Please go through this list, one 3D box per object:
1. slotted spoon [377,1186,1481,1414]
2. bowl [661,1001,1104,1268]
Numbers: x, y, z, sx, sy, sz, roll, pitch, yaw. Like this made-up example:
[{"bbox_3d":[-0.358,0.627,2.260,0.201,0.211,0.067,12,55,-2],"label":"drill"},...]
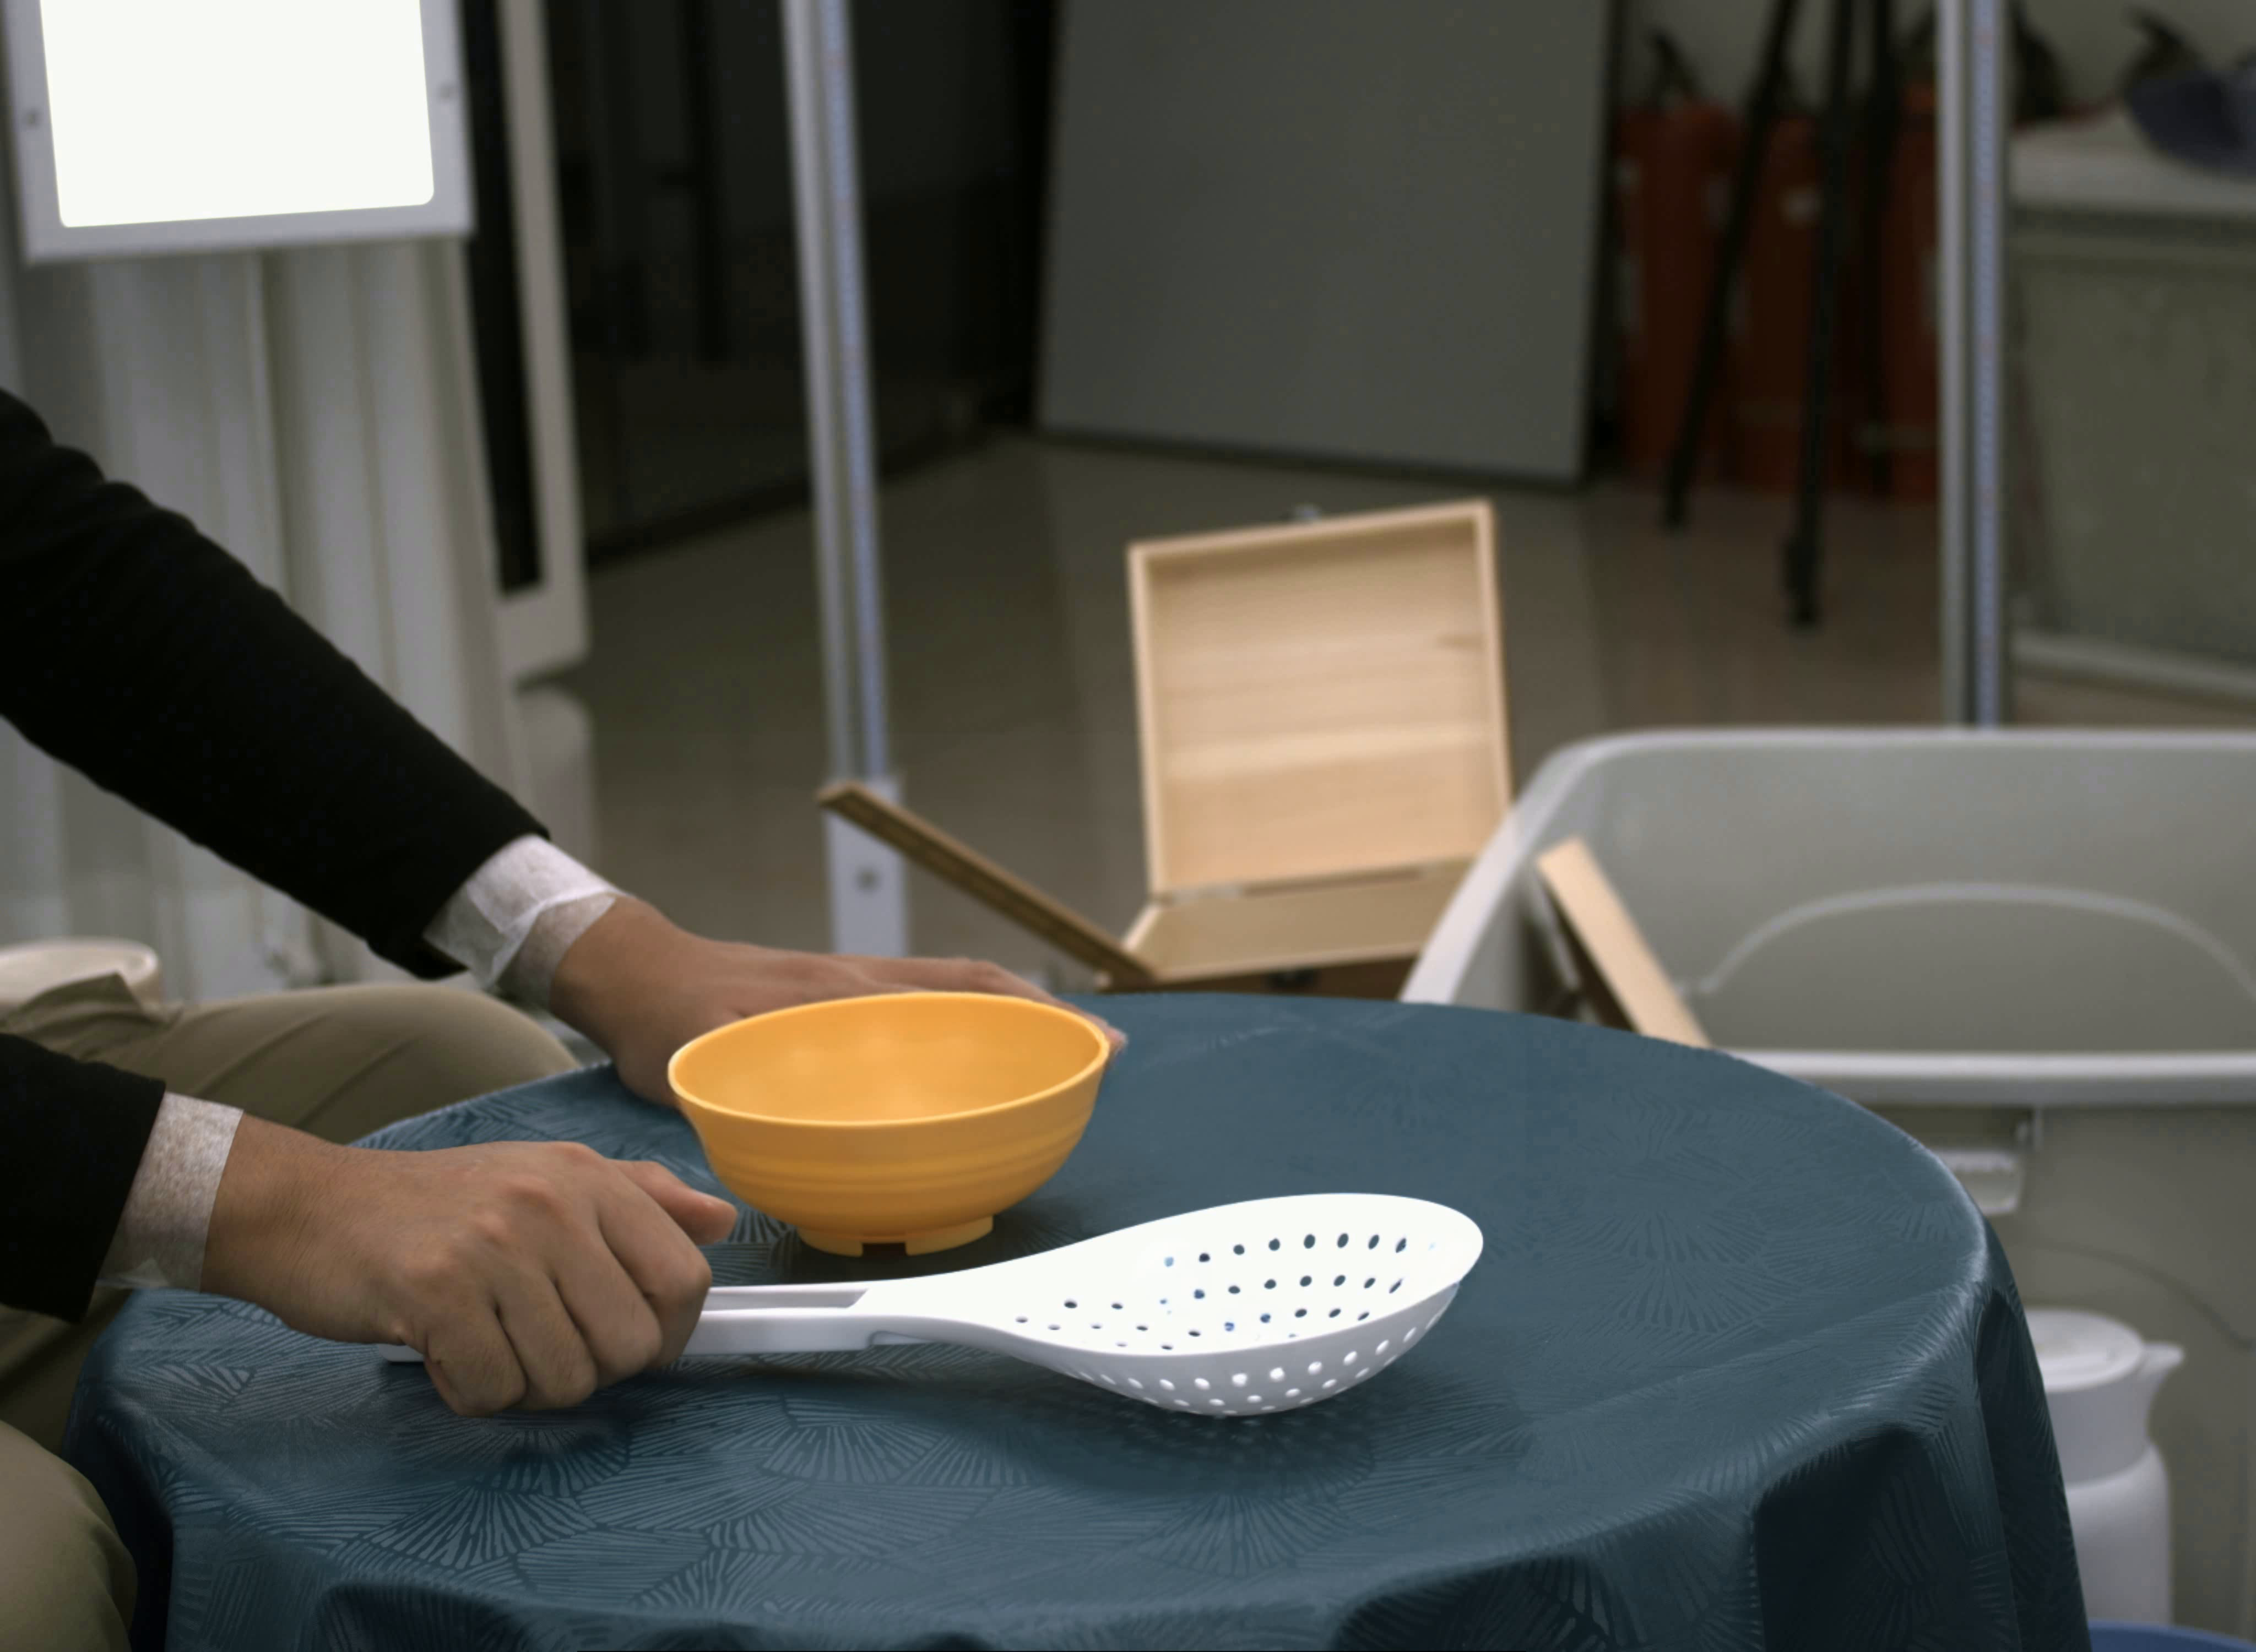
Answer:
[{"bbox_3d":[-0.063,0.144,1.599,0.349,0.046,0.135,-1,16,19],"label":"slotted spoon"},{"bbox_3d":[-0.078,0.104,1.746,0.143,0.061,0.145,-2,13,0],"label":"bowl"}]
